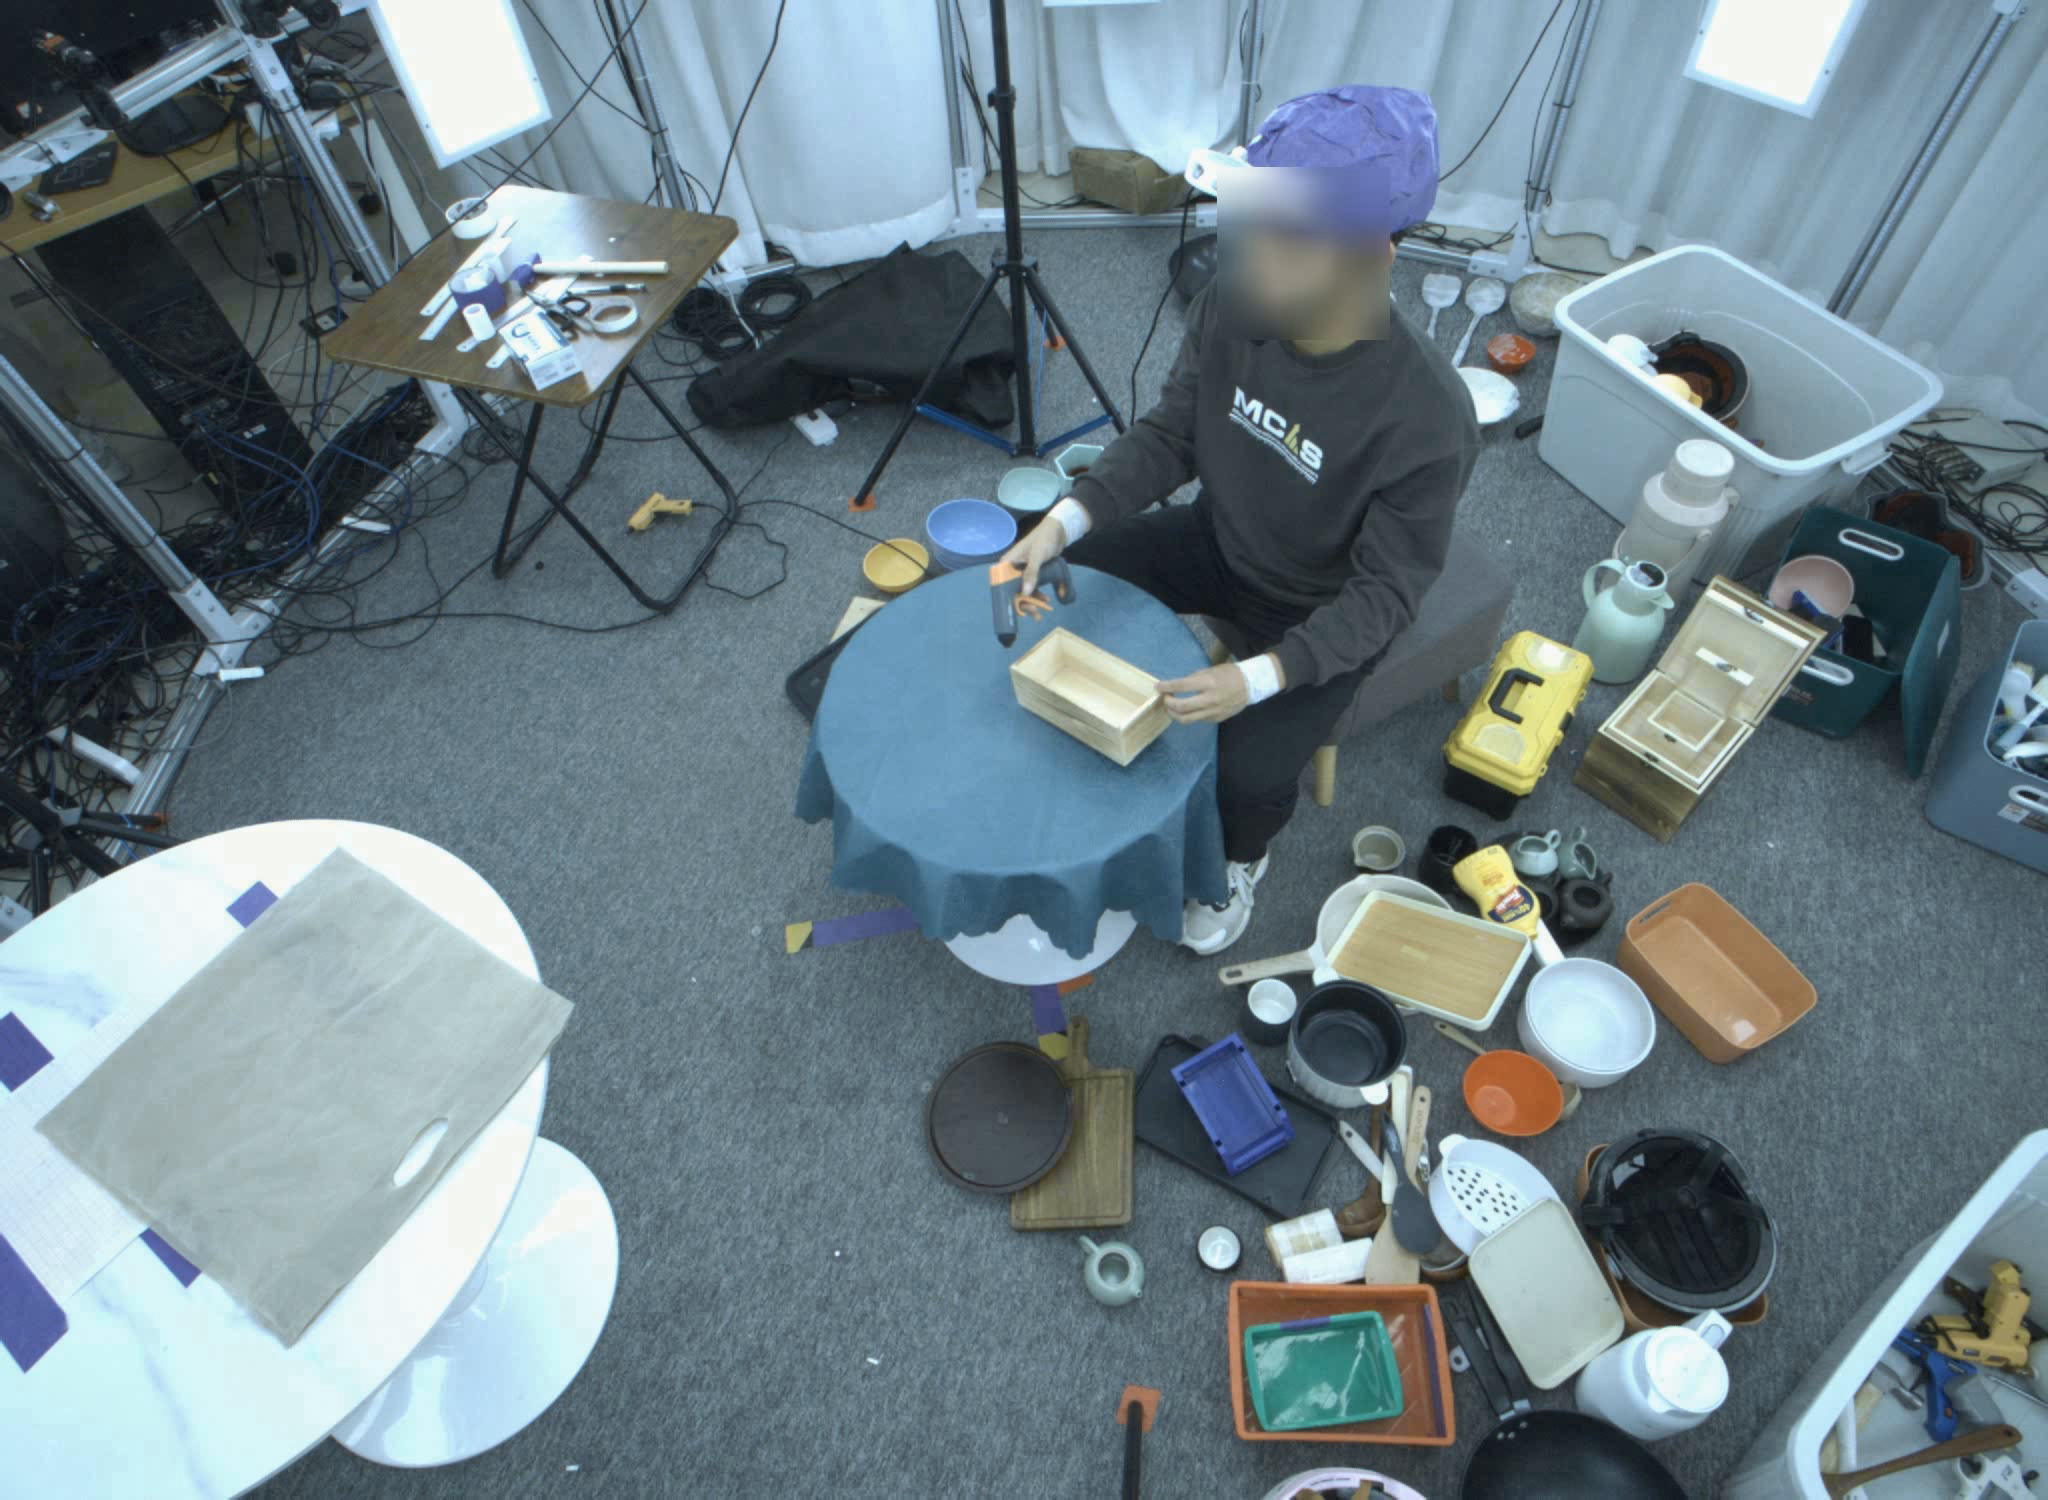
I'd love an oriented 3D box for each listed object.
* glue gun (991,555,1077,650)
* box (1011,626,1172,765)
[{"bbox_3d":[0.008,-0.221,1.782,0.141,0.119,0.040,-27,20,-30],"label":"glue gun"},{"bbox_3d":[0.096,-0.081,1.774,0.207,0.081,0.108,31,60,32],"label":"box"}]
